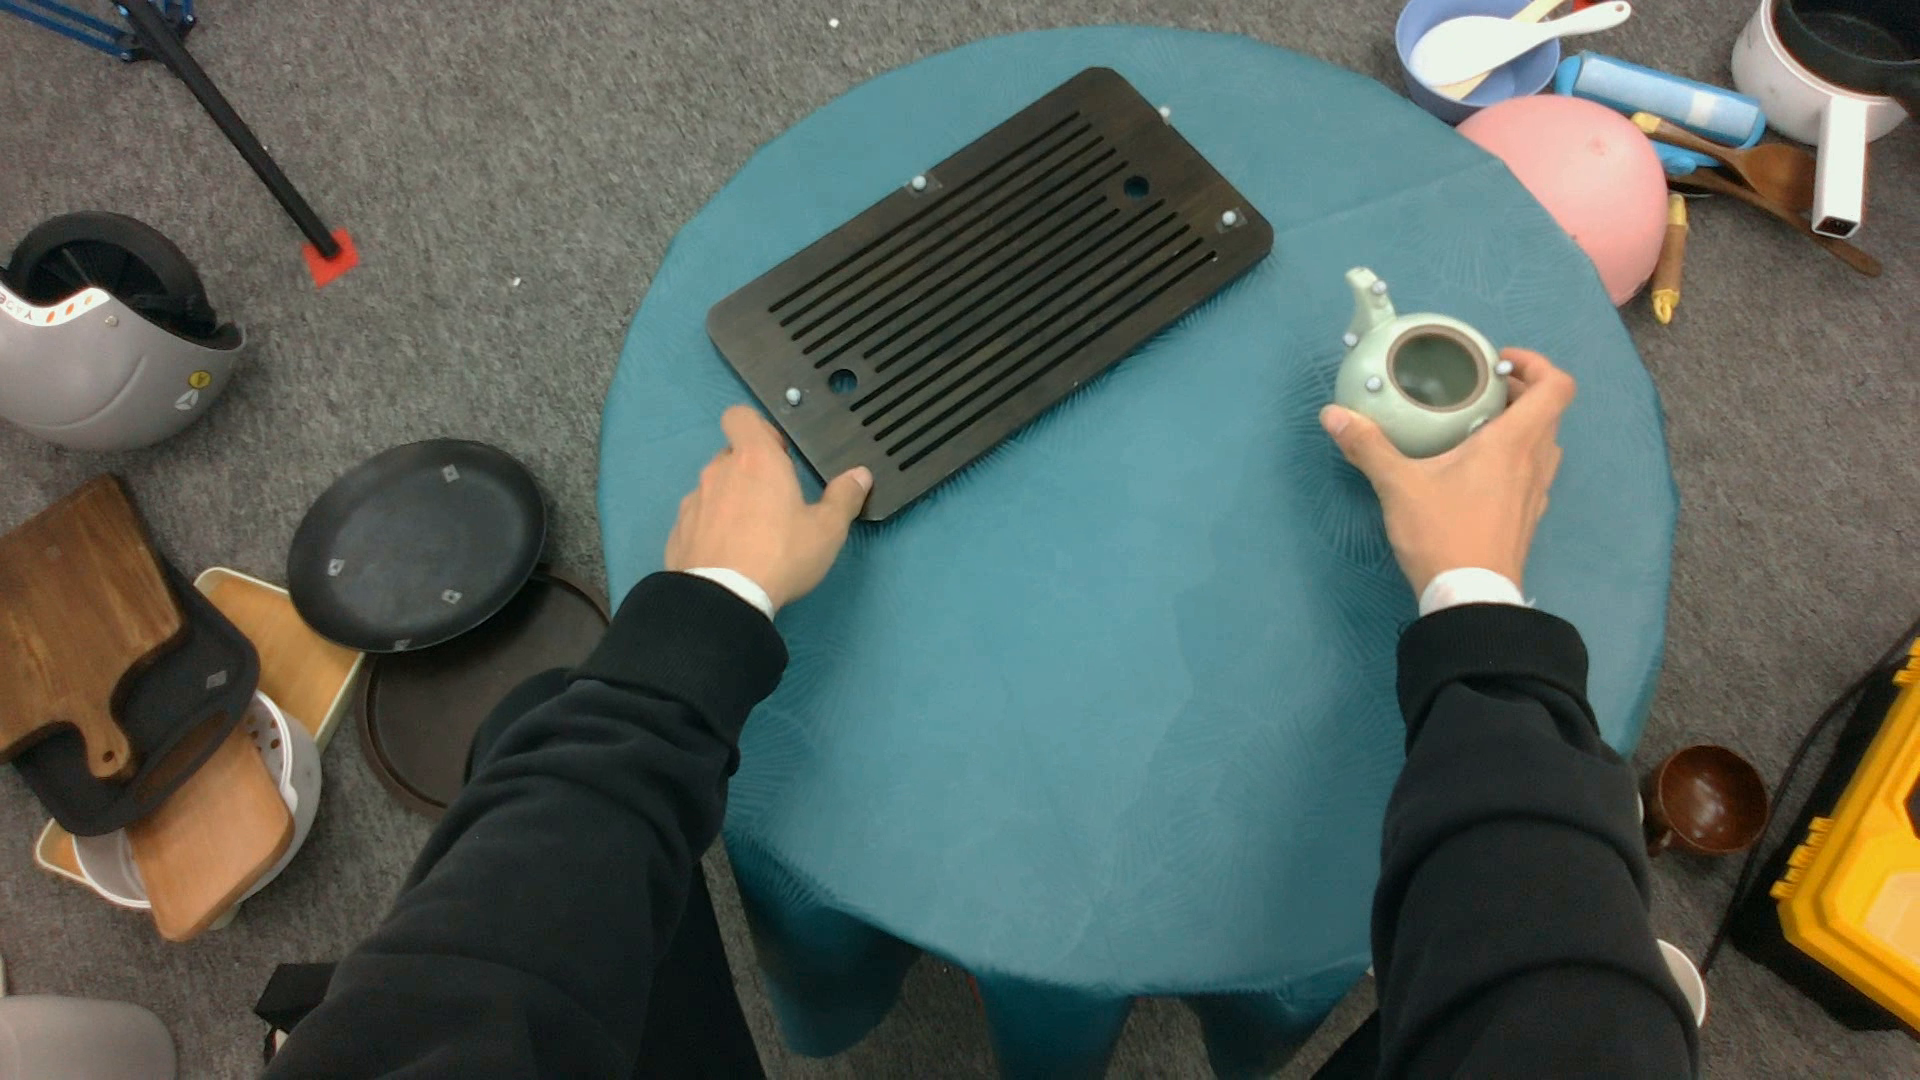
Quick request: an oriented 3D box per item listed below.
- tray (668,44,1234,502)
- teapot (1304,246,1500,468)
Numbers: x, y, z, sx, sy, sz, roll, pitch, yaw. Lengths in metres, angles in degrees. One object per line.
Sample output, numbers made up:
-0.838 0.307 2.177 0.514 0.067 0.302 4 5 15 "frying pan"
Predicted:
-0.002 -0.164 0.806 0.306 0.018 0.170 -36 73 -14 "tray"
0.232 -0.092 0.750 0.088 0.074 0.144 -31 70 -12 "teapot"
